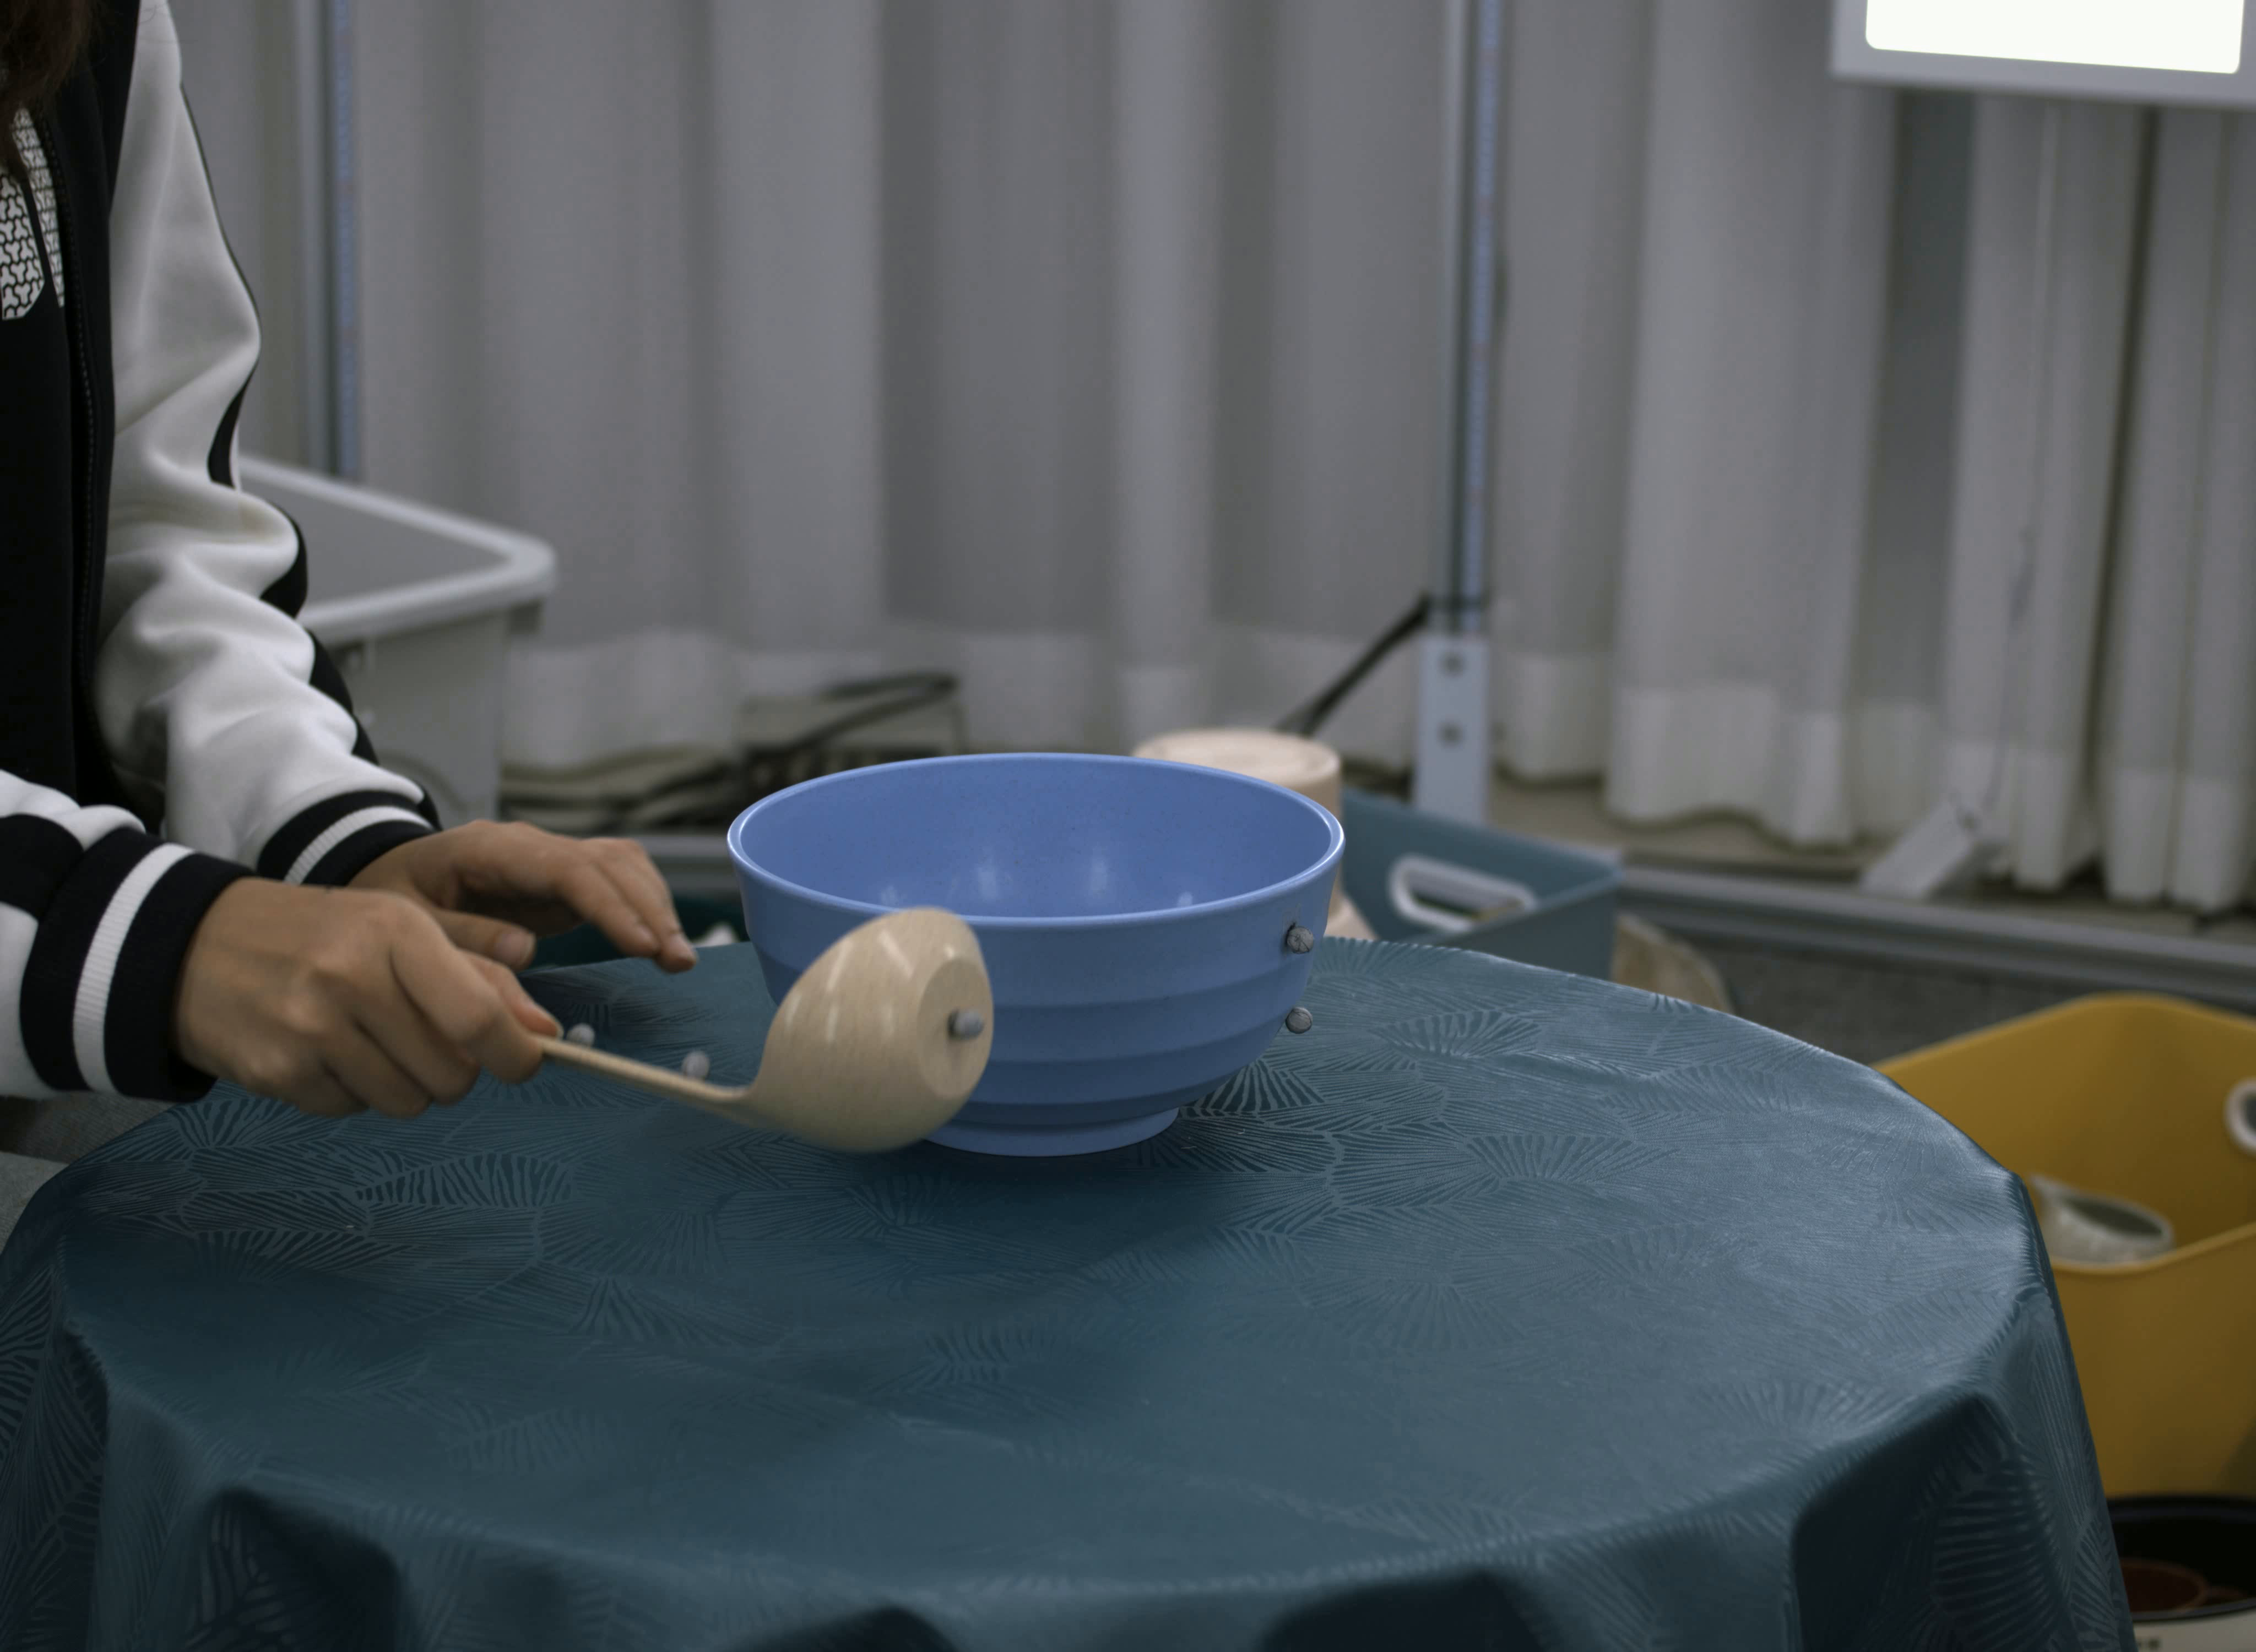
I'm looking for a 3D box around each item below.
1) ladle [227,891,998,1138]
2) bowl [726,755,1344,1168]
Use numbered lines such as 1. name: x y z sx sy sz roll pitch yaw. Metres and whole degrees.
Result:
1. ladle: -0.152 0.039 1.531 0.251 0.072 0.073 9 -23 32
2. bowl: -0.029 0.049 1.681 0.196 0.096 0.195 0 17 1
